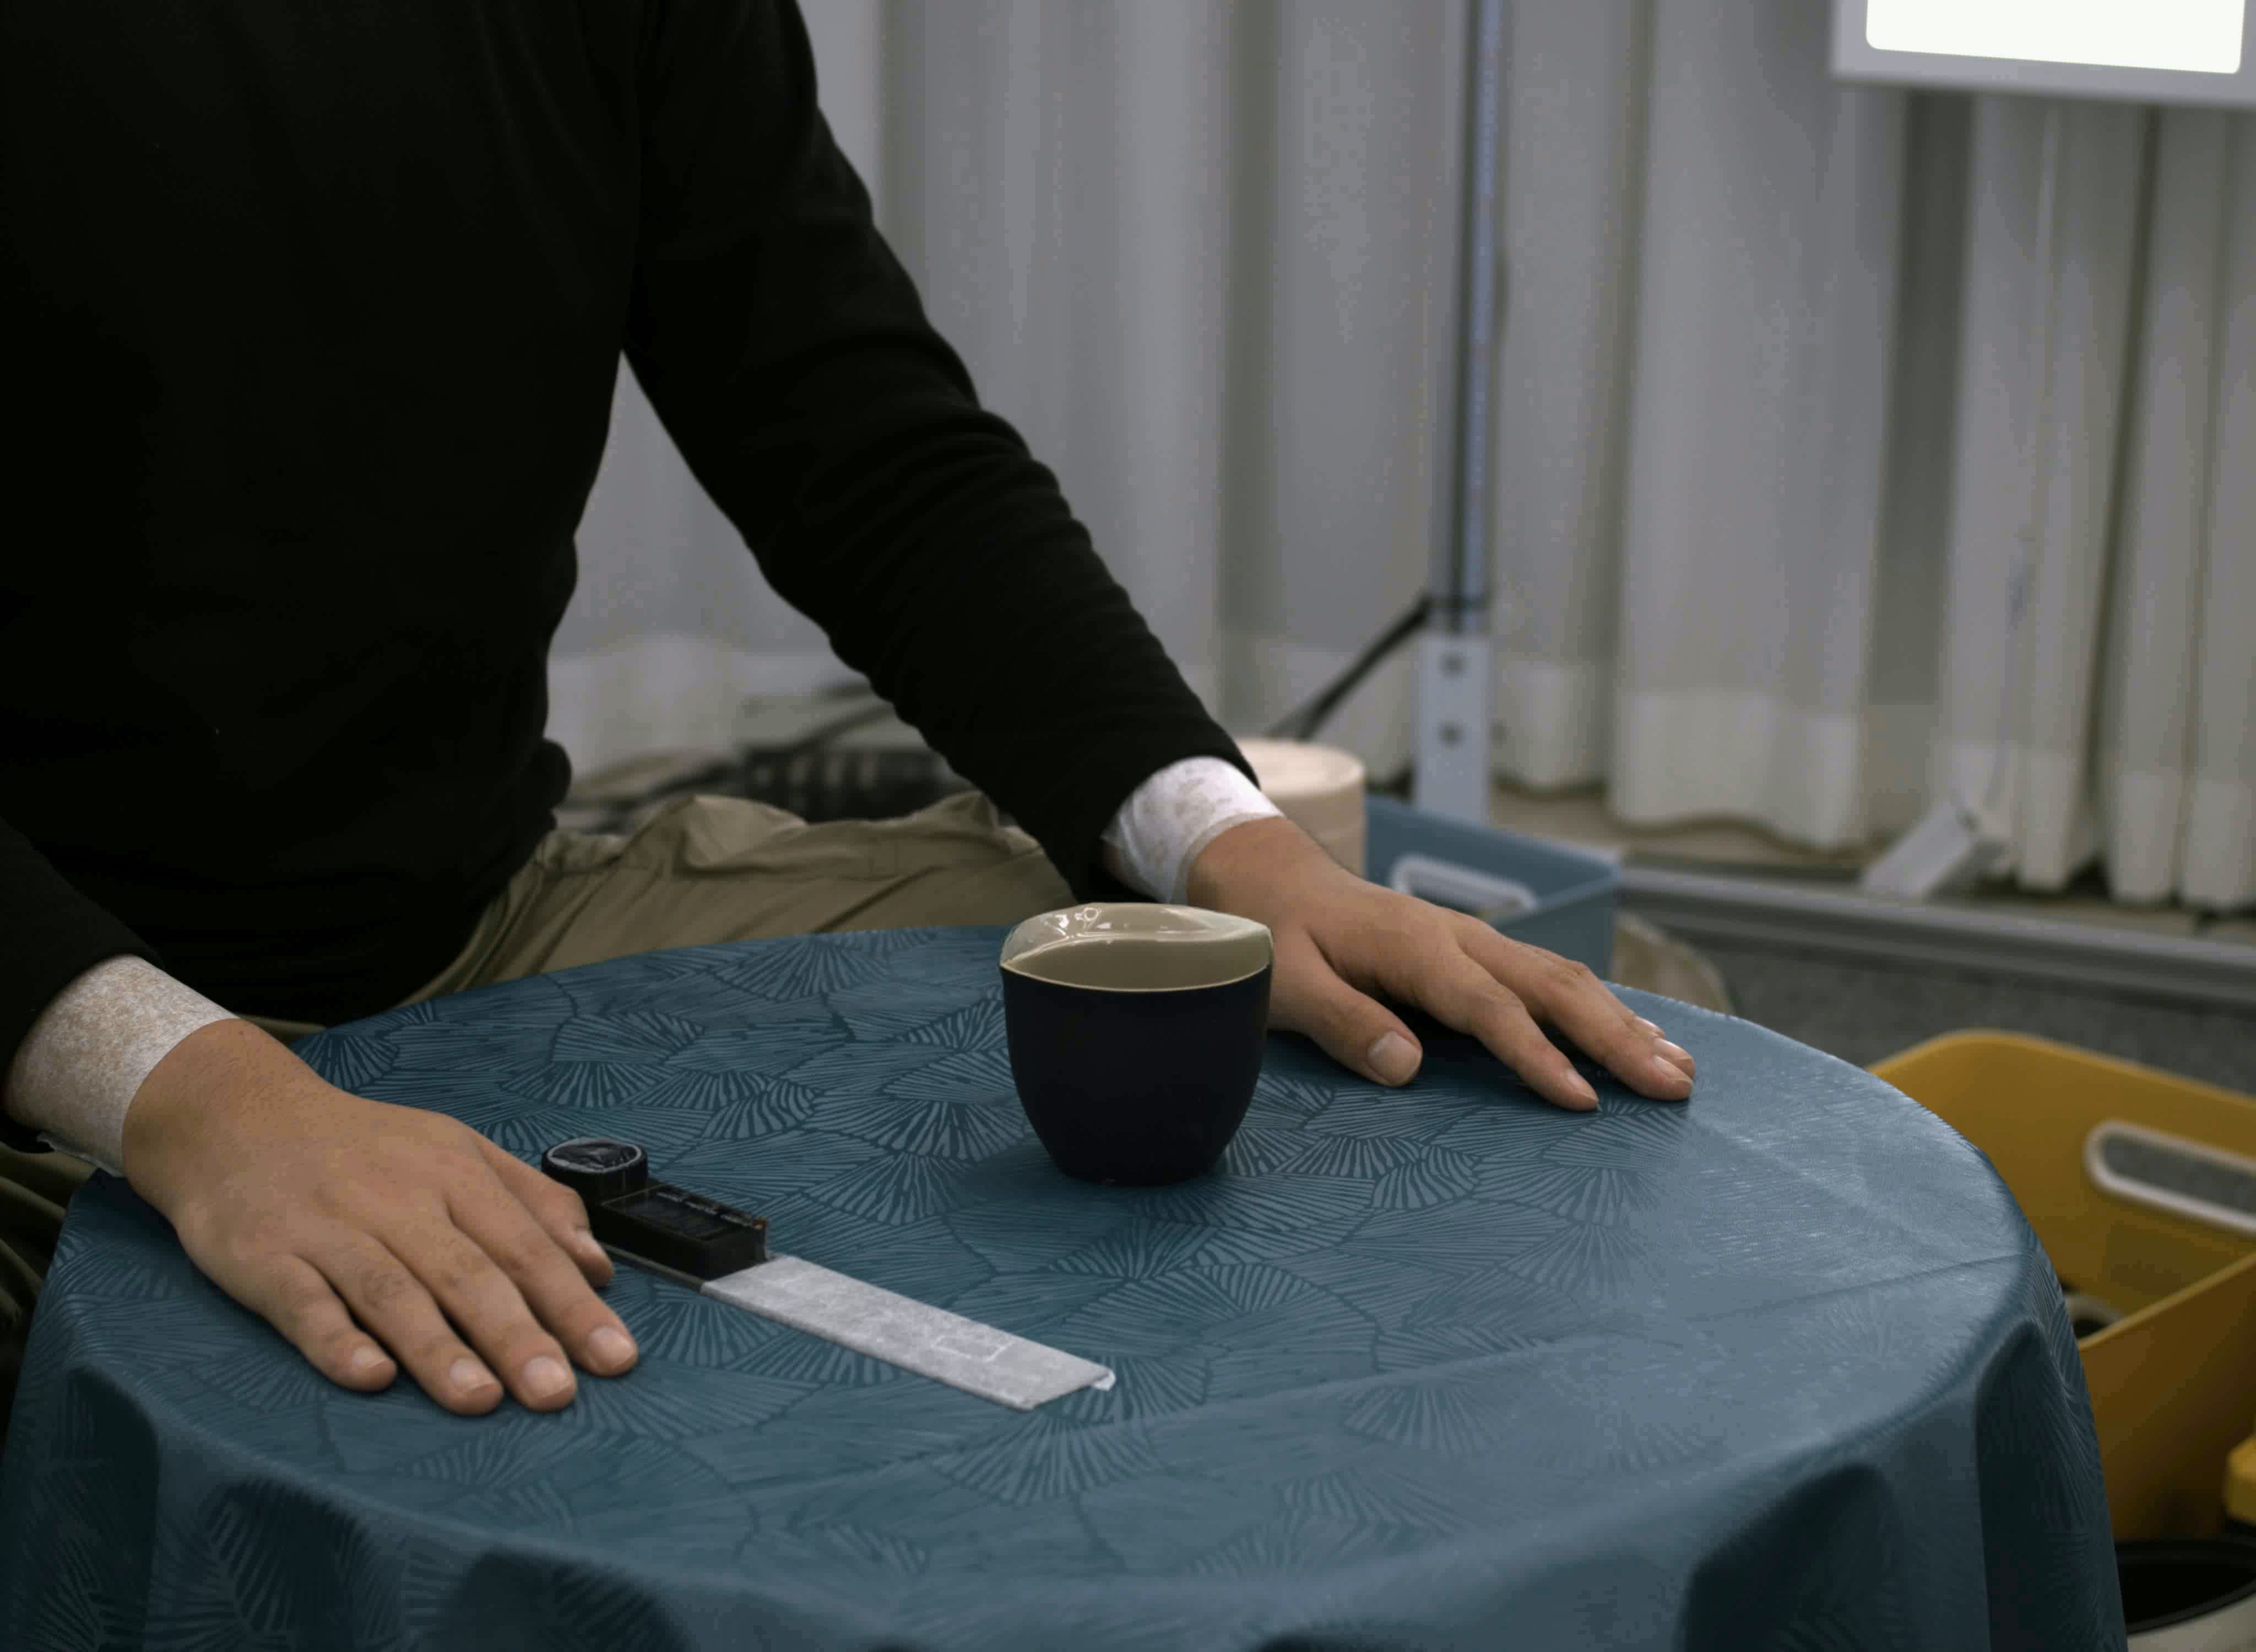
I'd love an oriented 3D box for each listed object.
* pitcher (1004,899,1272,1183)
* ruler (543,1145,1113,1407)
[{"bbox_3d":[0.000,0.068,1.642,0.084,0.072,0.095,-9,19,-28],"label":"pitcher"},{"bbox_3d":[-0.094,0.127,1.522,0.215,0.024,0.038,13,27,42],"label":"ruler"}]
